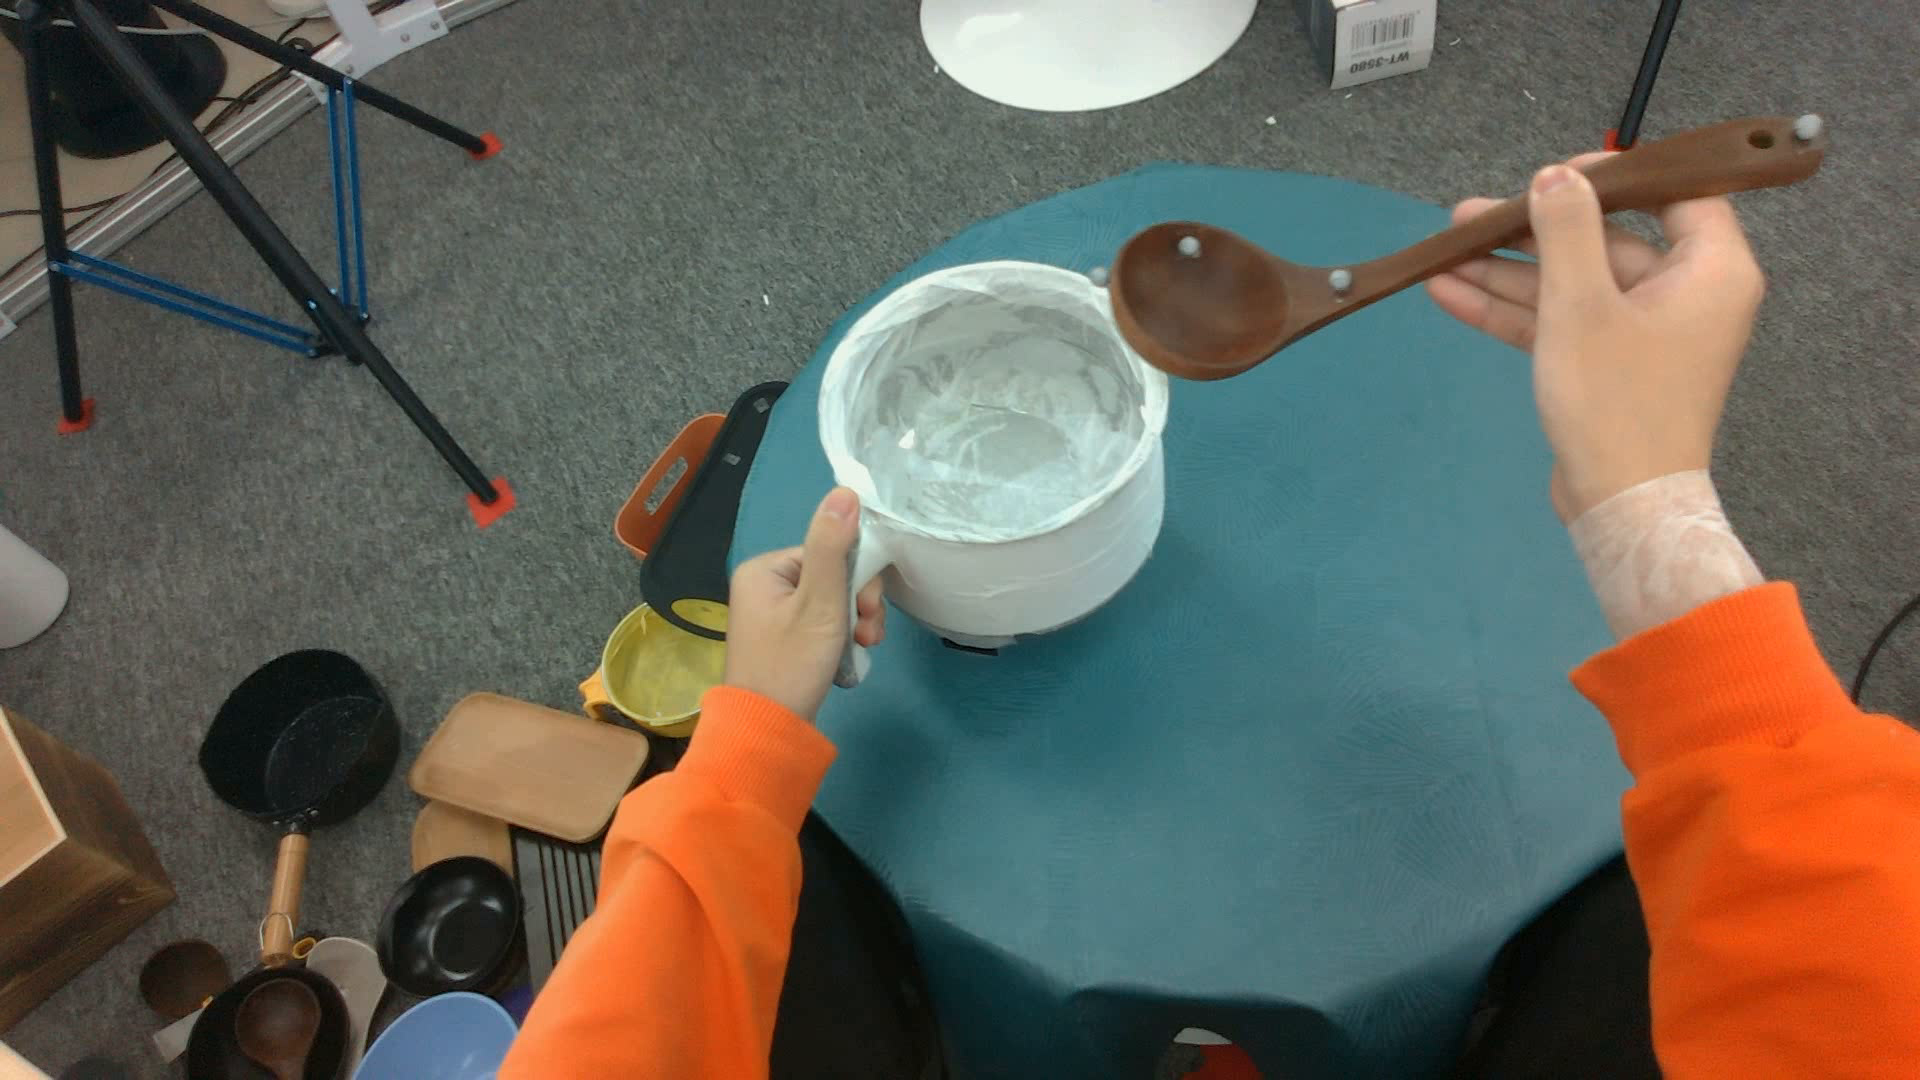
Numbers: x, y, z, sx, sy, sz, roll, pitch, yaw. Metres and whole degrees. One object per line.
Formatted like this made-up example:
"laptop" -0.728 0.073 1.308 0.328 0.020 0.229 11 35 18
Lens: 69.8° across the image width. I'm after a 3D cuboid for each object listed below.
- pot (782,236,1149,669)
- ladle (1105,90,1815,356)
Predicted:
"pot" -0.006 -0.035 0.735 0.179 0.136 0.234 35 69 24
"ladle" 0.182 -0.132 0.531 0.259 0.065 0.077 -14 65 26
